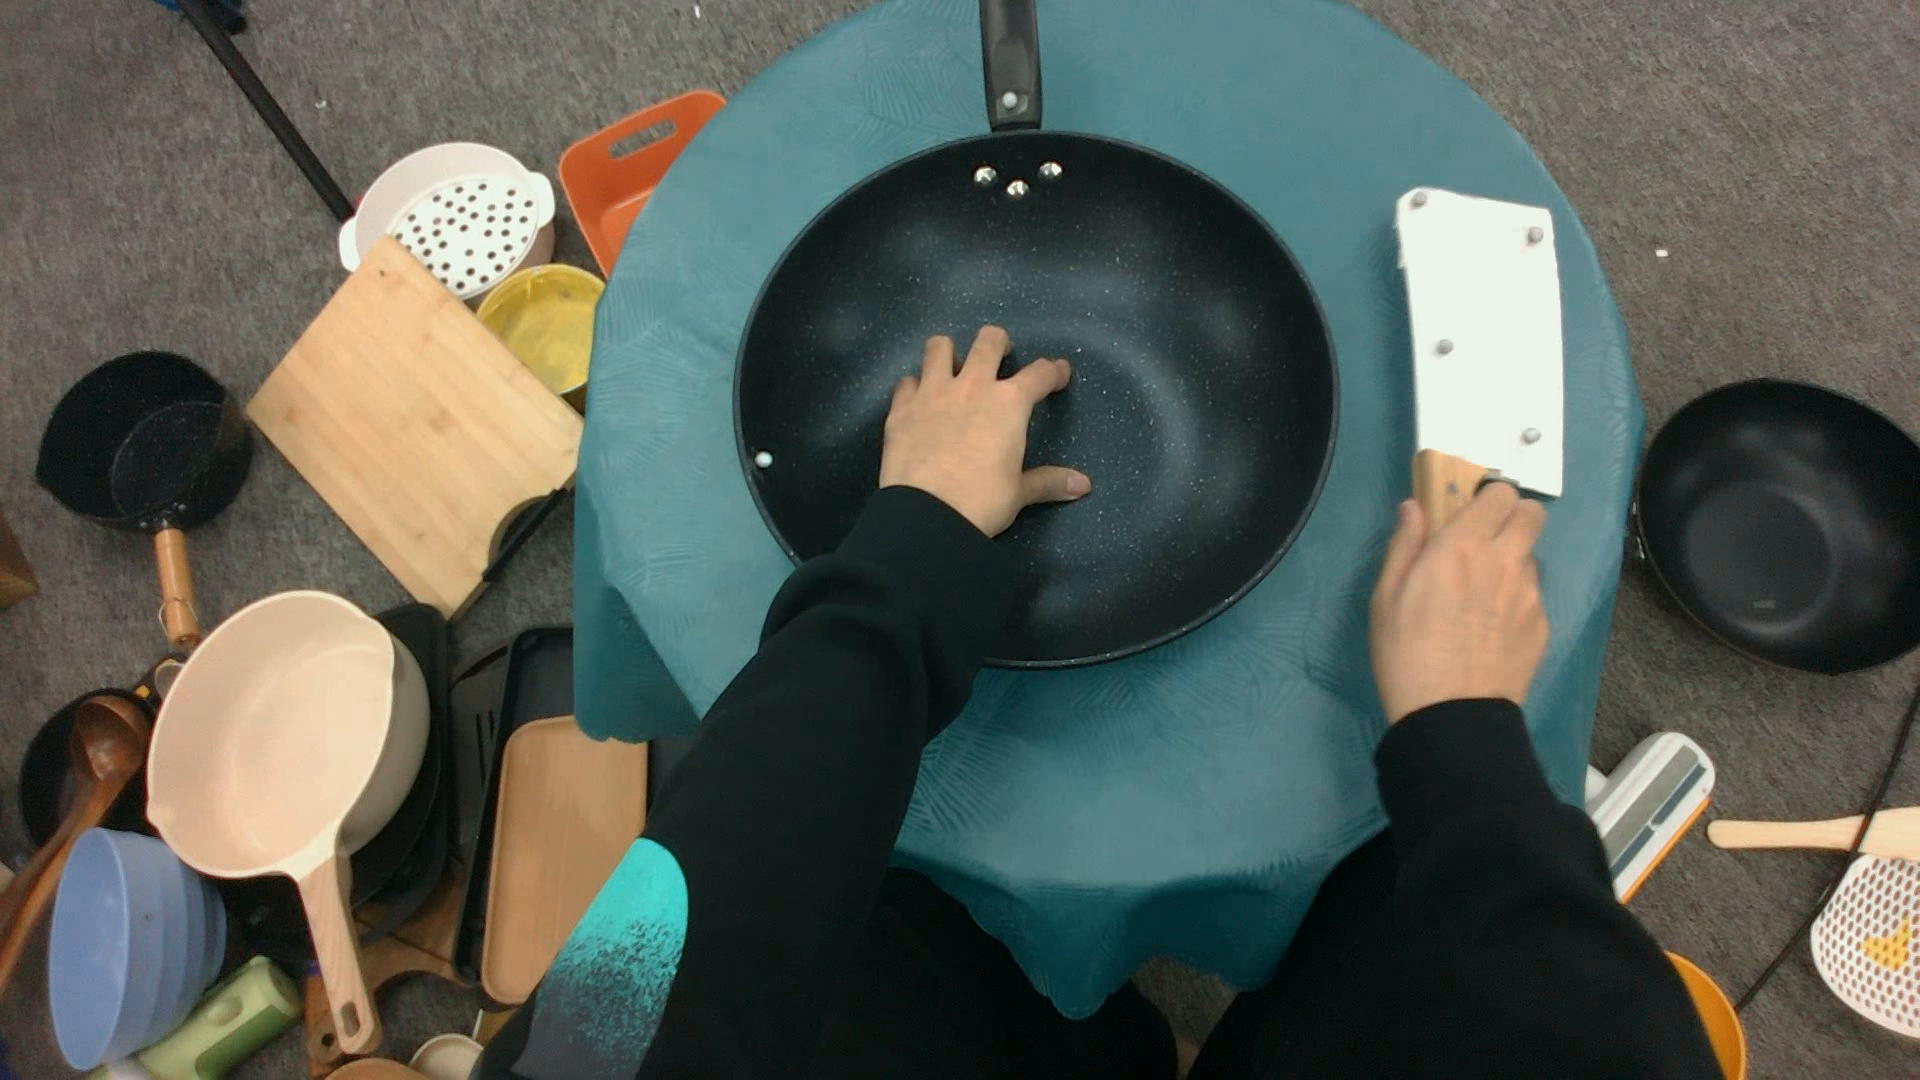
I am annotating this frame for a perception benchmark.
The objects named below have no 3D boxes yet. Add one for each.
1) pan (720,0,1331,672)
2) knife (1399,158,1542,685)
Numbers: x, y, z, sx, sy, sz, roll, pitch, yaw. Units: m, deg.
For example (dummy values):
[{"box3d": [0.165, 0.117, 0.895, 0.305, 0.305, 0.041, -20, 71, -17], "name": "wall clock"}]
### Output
[{"box3d": [0.029, -0.151, 0.754, 0.310, 0.111, 0.478, -3, 69, -1], "name": "pan"}, {"box3d": [0.273, -0.073, 0.741, 0.114, 0.021, 0.316, 20, 66, -22], "name": "knife"}]
